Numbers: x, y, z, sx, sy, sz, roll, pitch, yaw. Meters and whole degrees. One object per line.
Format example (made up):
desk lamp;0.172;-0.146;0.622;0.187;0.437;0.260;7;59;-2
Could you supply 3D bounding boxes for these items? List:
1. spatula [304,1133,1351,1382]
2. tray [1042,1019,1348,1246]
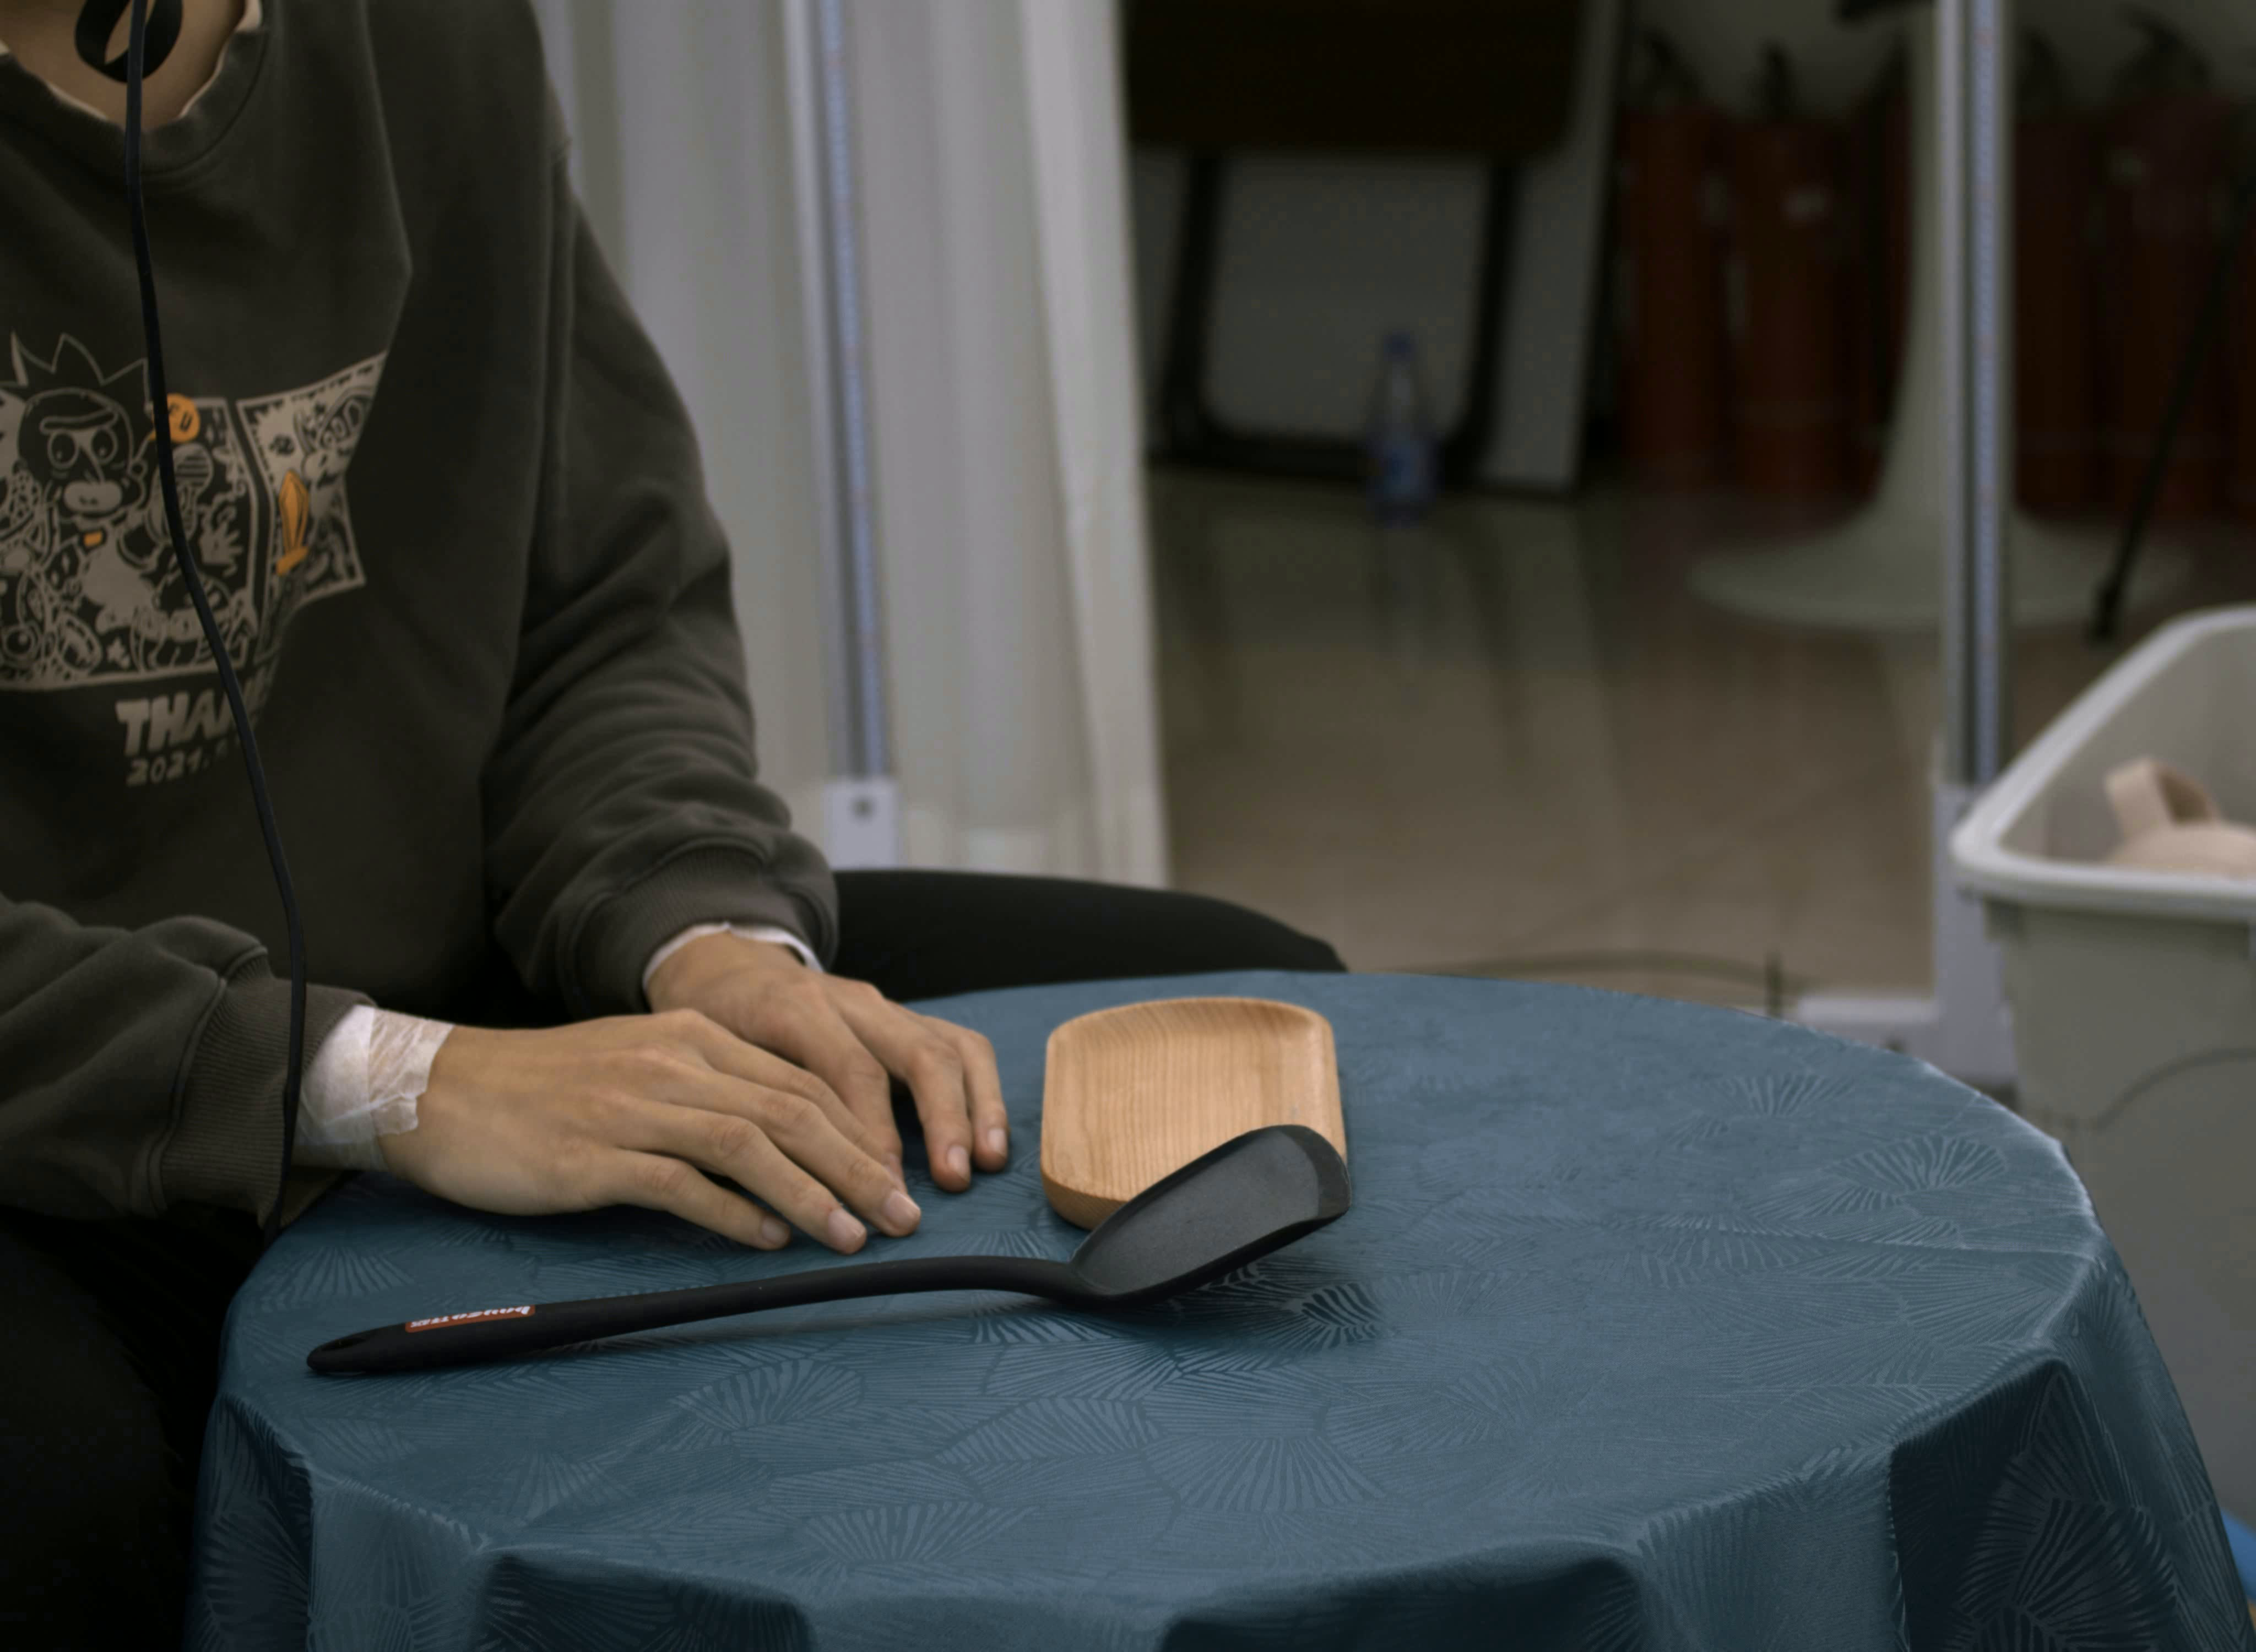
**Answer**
spatula;-0.092;0.138;1.658;0.321;0.041;0.100;-5;12;-5
tray;0.022;0.102;1.819;0.100;0.020;0.231;-4;14;2
